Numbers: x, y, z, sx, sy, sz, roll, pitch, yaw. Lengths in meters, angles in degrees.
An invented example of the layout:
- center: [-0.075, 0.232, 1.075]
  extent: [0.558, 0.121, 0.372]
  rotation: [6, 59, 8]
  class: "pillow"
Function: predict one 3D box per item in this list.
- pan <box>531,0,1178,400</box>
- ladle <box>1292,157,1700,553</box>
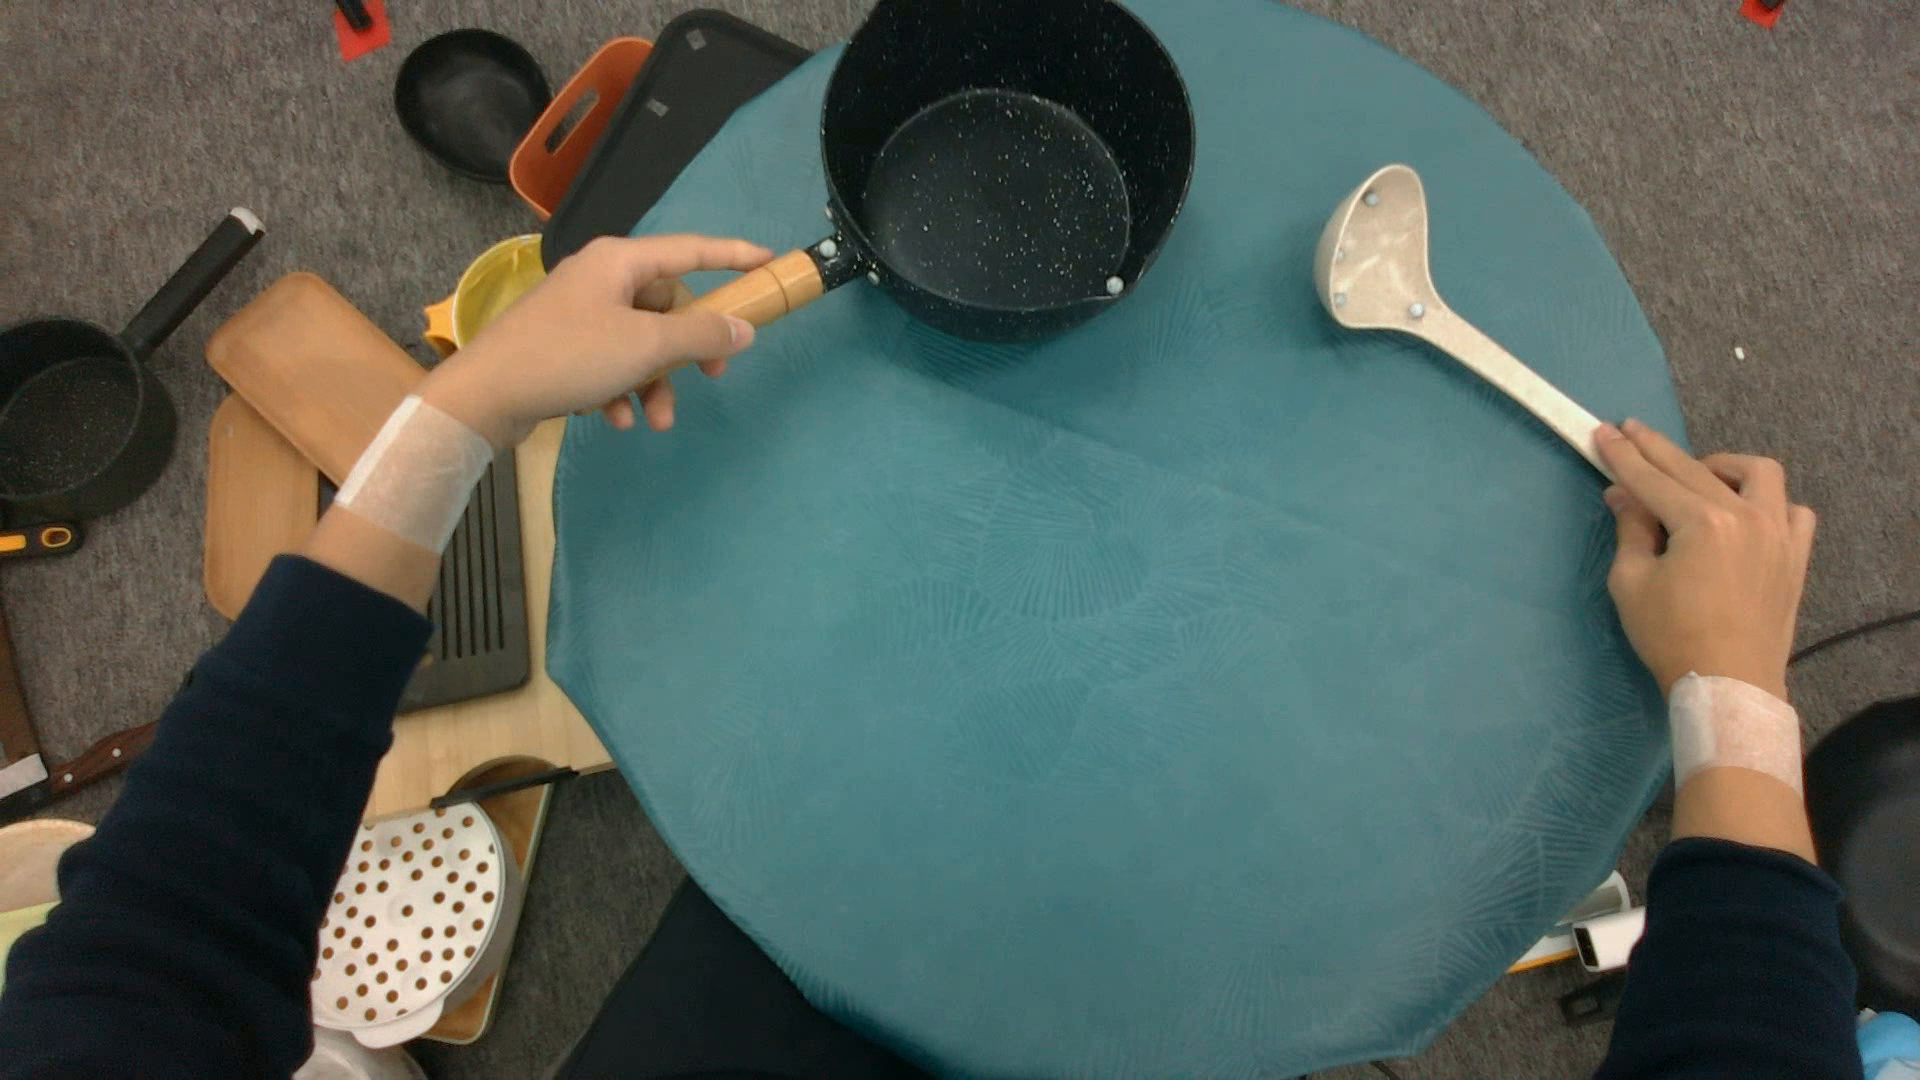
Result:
- center: [-0.050, -0.151, 0.688]
  extent: [0.343, 0.108, 0.207]
  rotation: [-35, 81, -12]
  class: "pan"
- center: [0.292, -0.091, 0.717]
  extent: [0.275, 0.069, 0.089]
  rotation: [38, 66, 4]
  class: "ladle"
